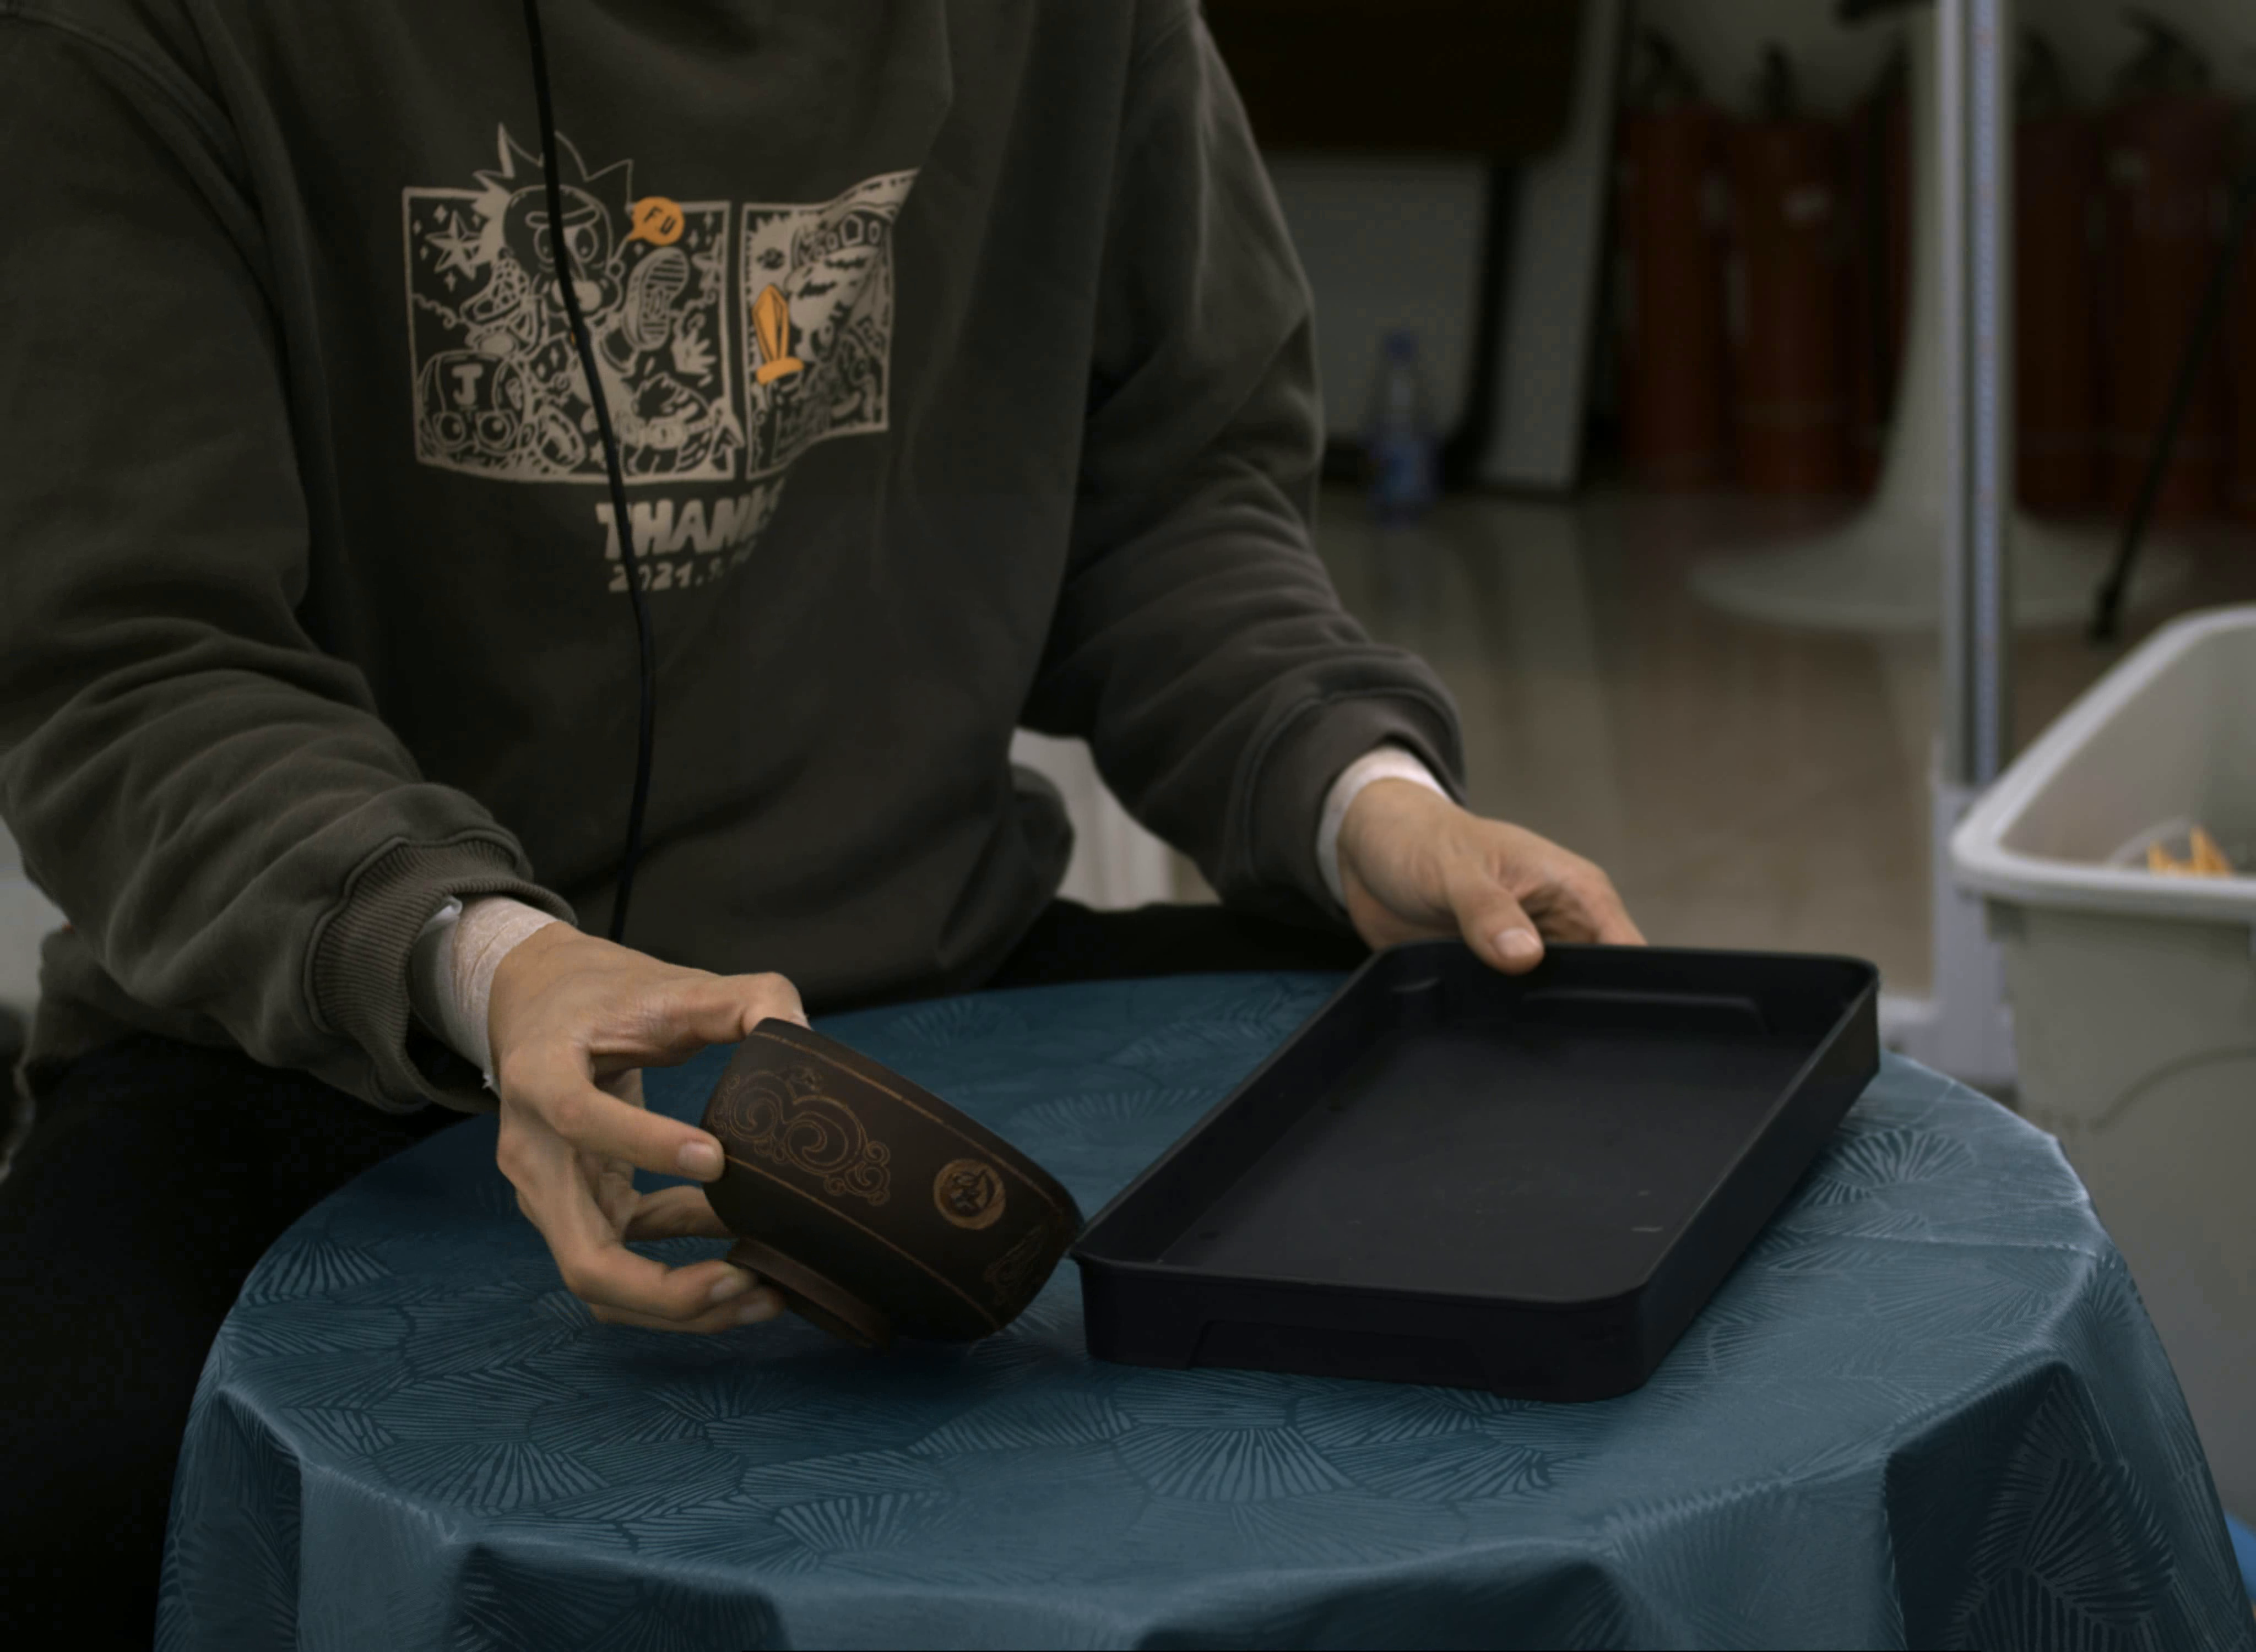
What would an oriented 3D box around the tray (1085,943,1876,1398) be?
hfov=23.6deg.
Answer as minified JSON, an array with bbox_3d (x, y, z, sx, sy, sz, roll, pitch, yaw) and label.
[{"bbox_3d":[0.121,0.103,1.715,0.184,0.037,0.315,0,17,22],"label":"tray"}]

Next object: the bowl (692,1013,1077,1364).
[{"bbox_3d":[-0.080,0.116,1.612,0.118,0.070,0.118,30,-15,8],"label":"bowl"}]
